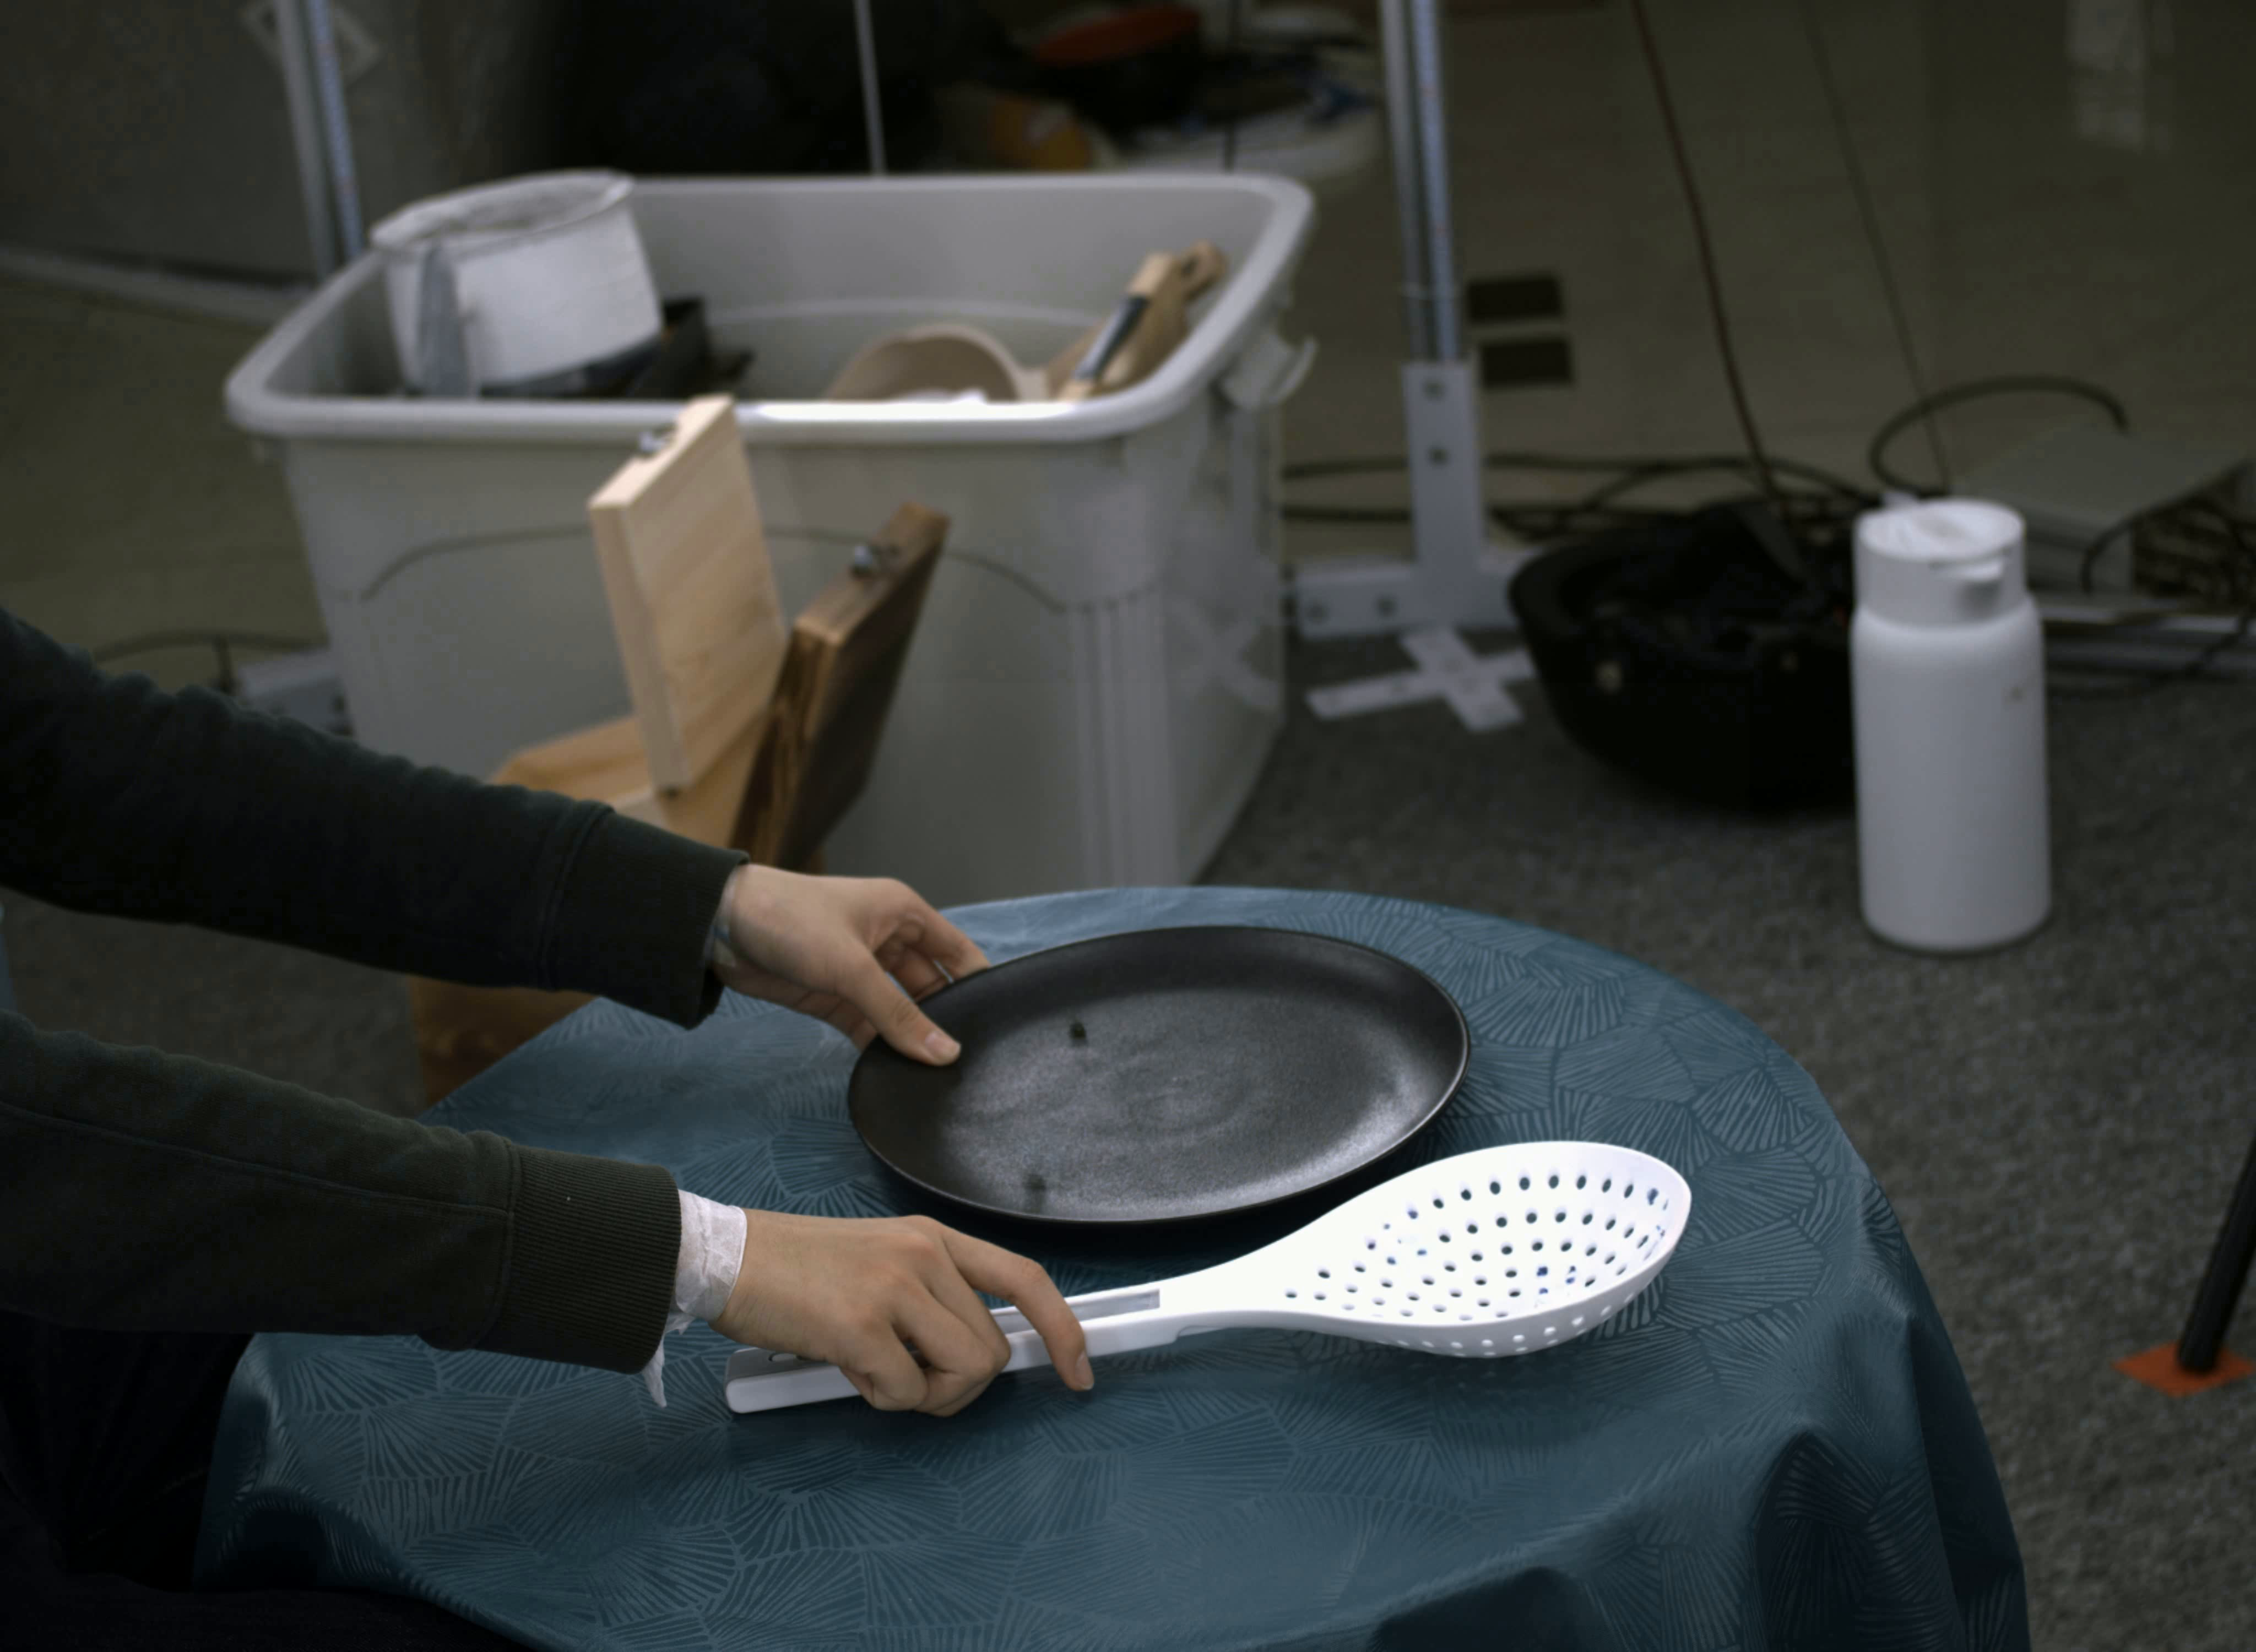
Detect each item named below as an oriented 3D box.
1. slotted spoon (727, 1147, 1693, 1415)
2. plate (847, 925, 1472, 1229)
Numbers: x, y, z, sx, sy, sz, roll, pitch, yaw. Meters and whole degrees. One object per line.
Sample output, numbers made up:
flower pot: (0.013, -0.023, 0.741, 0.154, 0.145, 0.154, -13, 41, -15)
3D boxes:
slotted spoon: (0.028, 0.170, 2.025, 0.349, 0.046, 0.134, -6, 21, 3)
plate: (0.012, 0.102, 2.199, 0.244, 0.024, 0.241, -5, 25, 2)
